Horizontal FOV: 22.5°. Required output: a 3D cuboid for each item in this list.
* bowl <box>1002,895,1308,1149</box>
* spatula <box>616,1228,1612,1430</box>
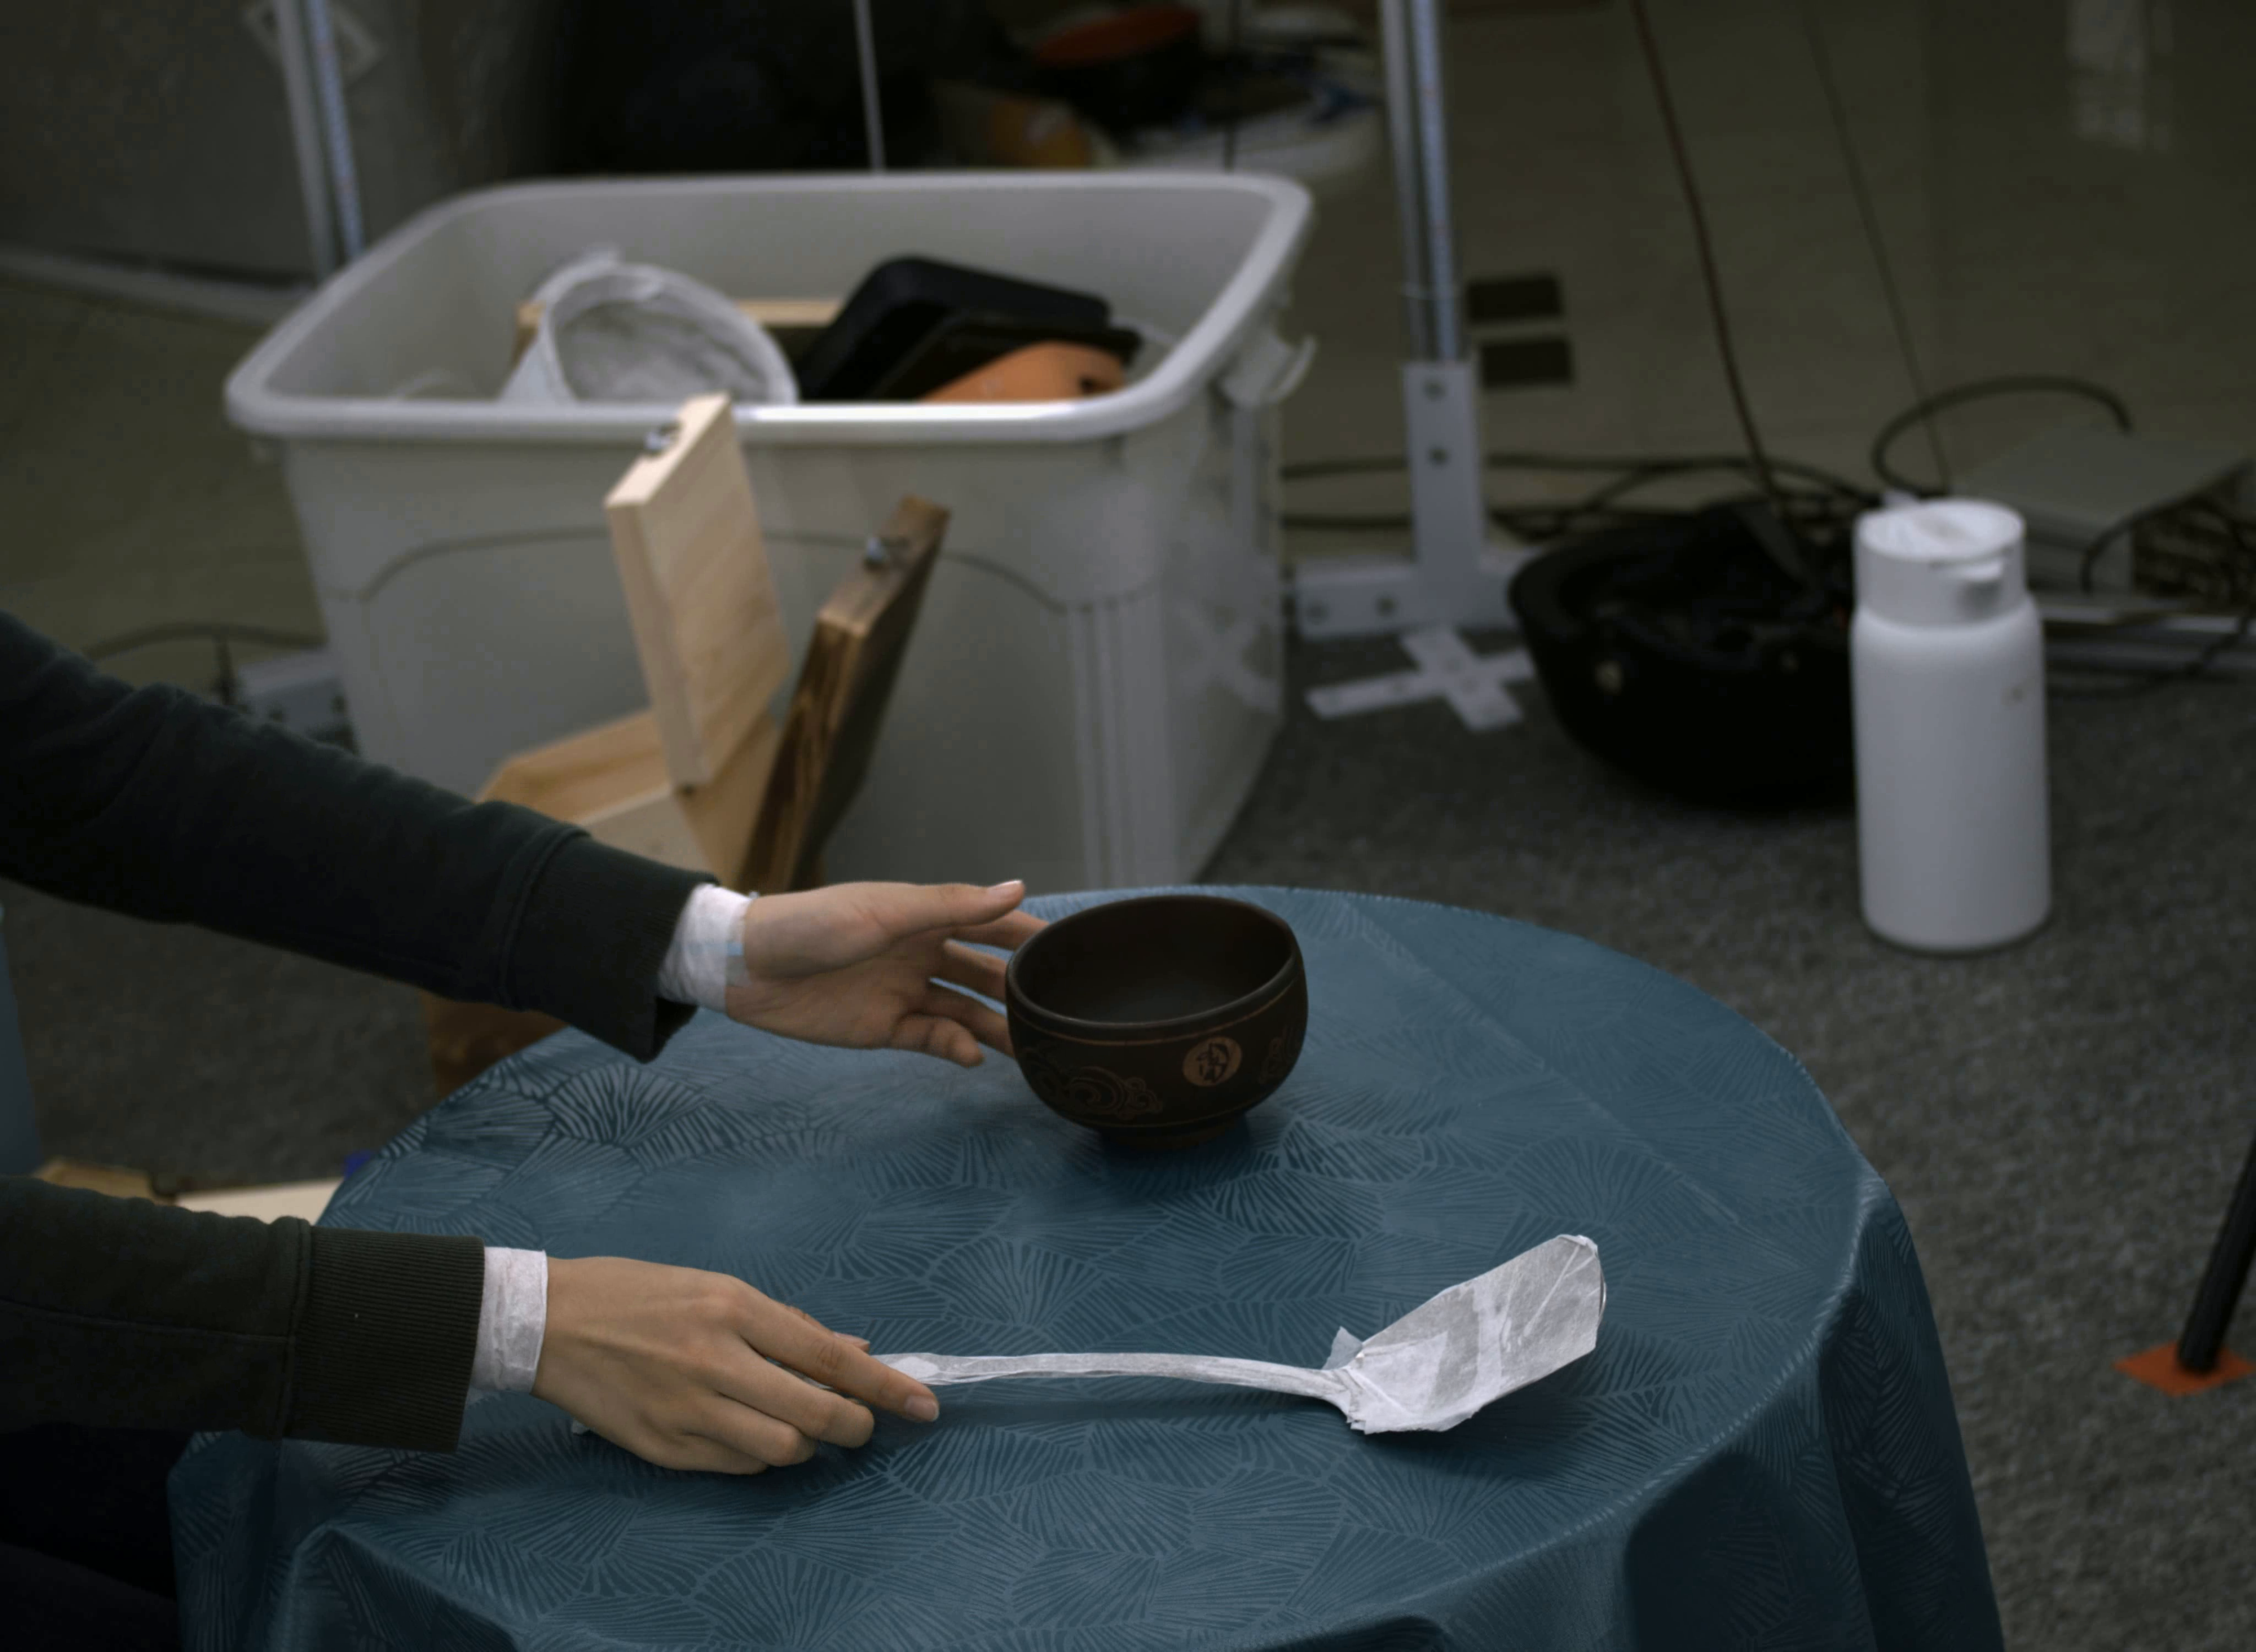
[{"bbox_3d":[0.012,0.081,2.188,0.118,0.071,0.116,-6,23,3],"label":"bowl"},{"bbox_3d":[-0.010,0.186,2.008,0.364,0.045,0.097,-2,27,9],"label":"spatula"}]
